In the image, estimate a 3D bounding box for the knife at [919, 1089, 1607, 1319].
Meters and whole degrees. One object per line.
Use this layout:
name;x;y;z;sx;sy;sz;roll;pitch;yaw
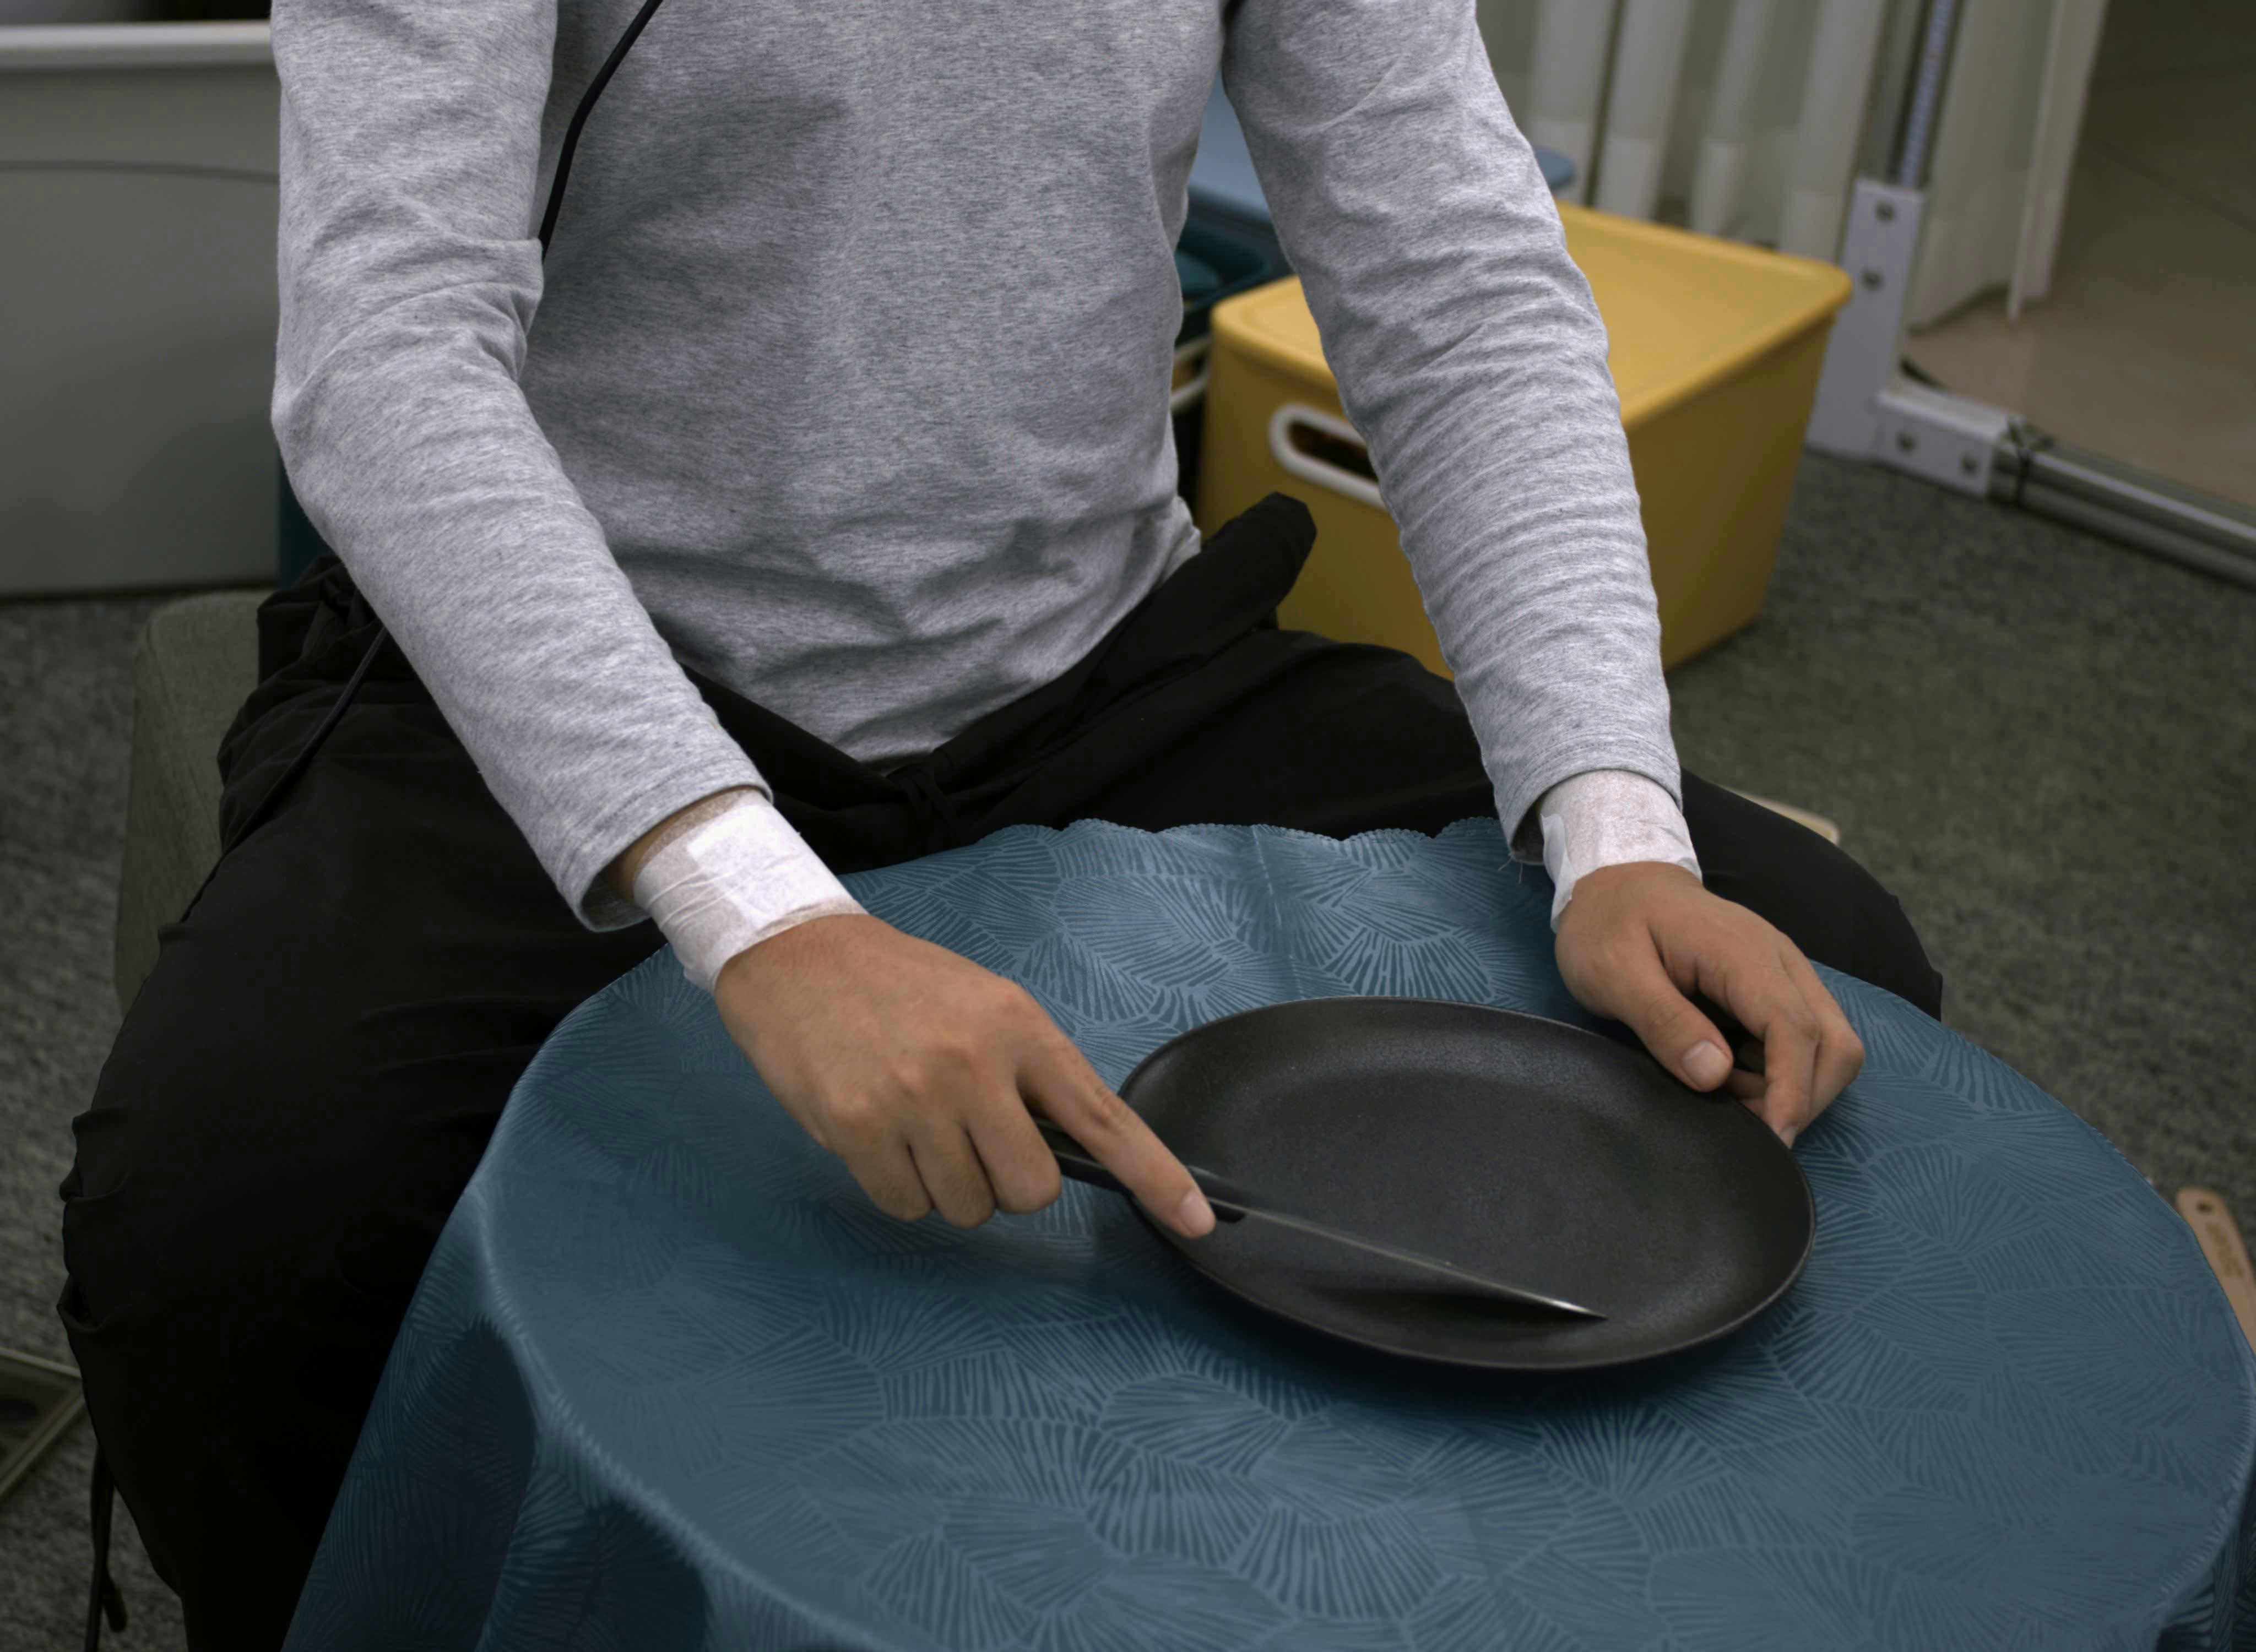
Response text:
knife;0.045;0.128;1.747;0.237;0.016;0.024;17;8;0

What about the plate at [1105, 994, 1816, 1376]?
plate;0.111;0.125;1.803;0.243;0.023;0.246;5;27;-3
